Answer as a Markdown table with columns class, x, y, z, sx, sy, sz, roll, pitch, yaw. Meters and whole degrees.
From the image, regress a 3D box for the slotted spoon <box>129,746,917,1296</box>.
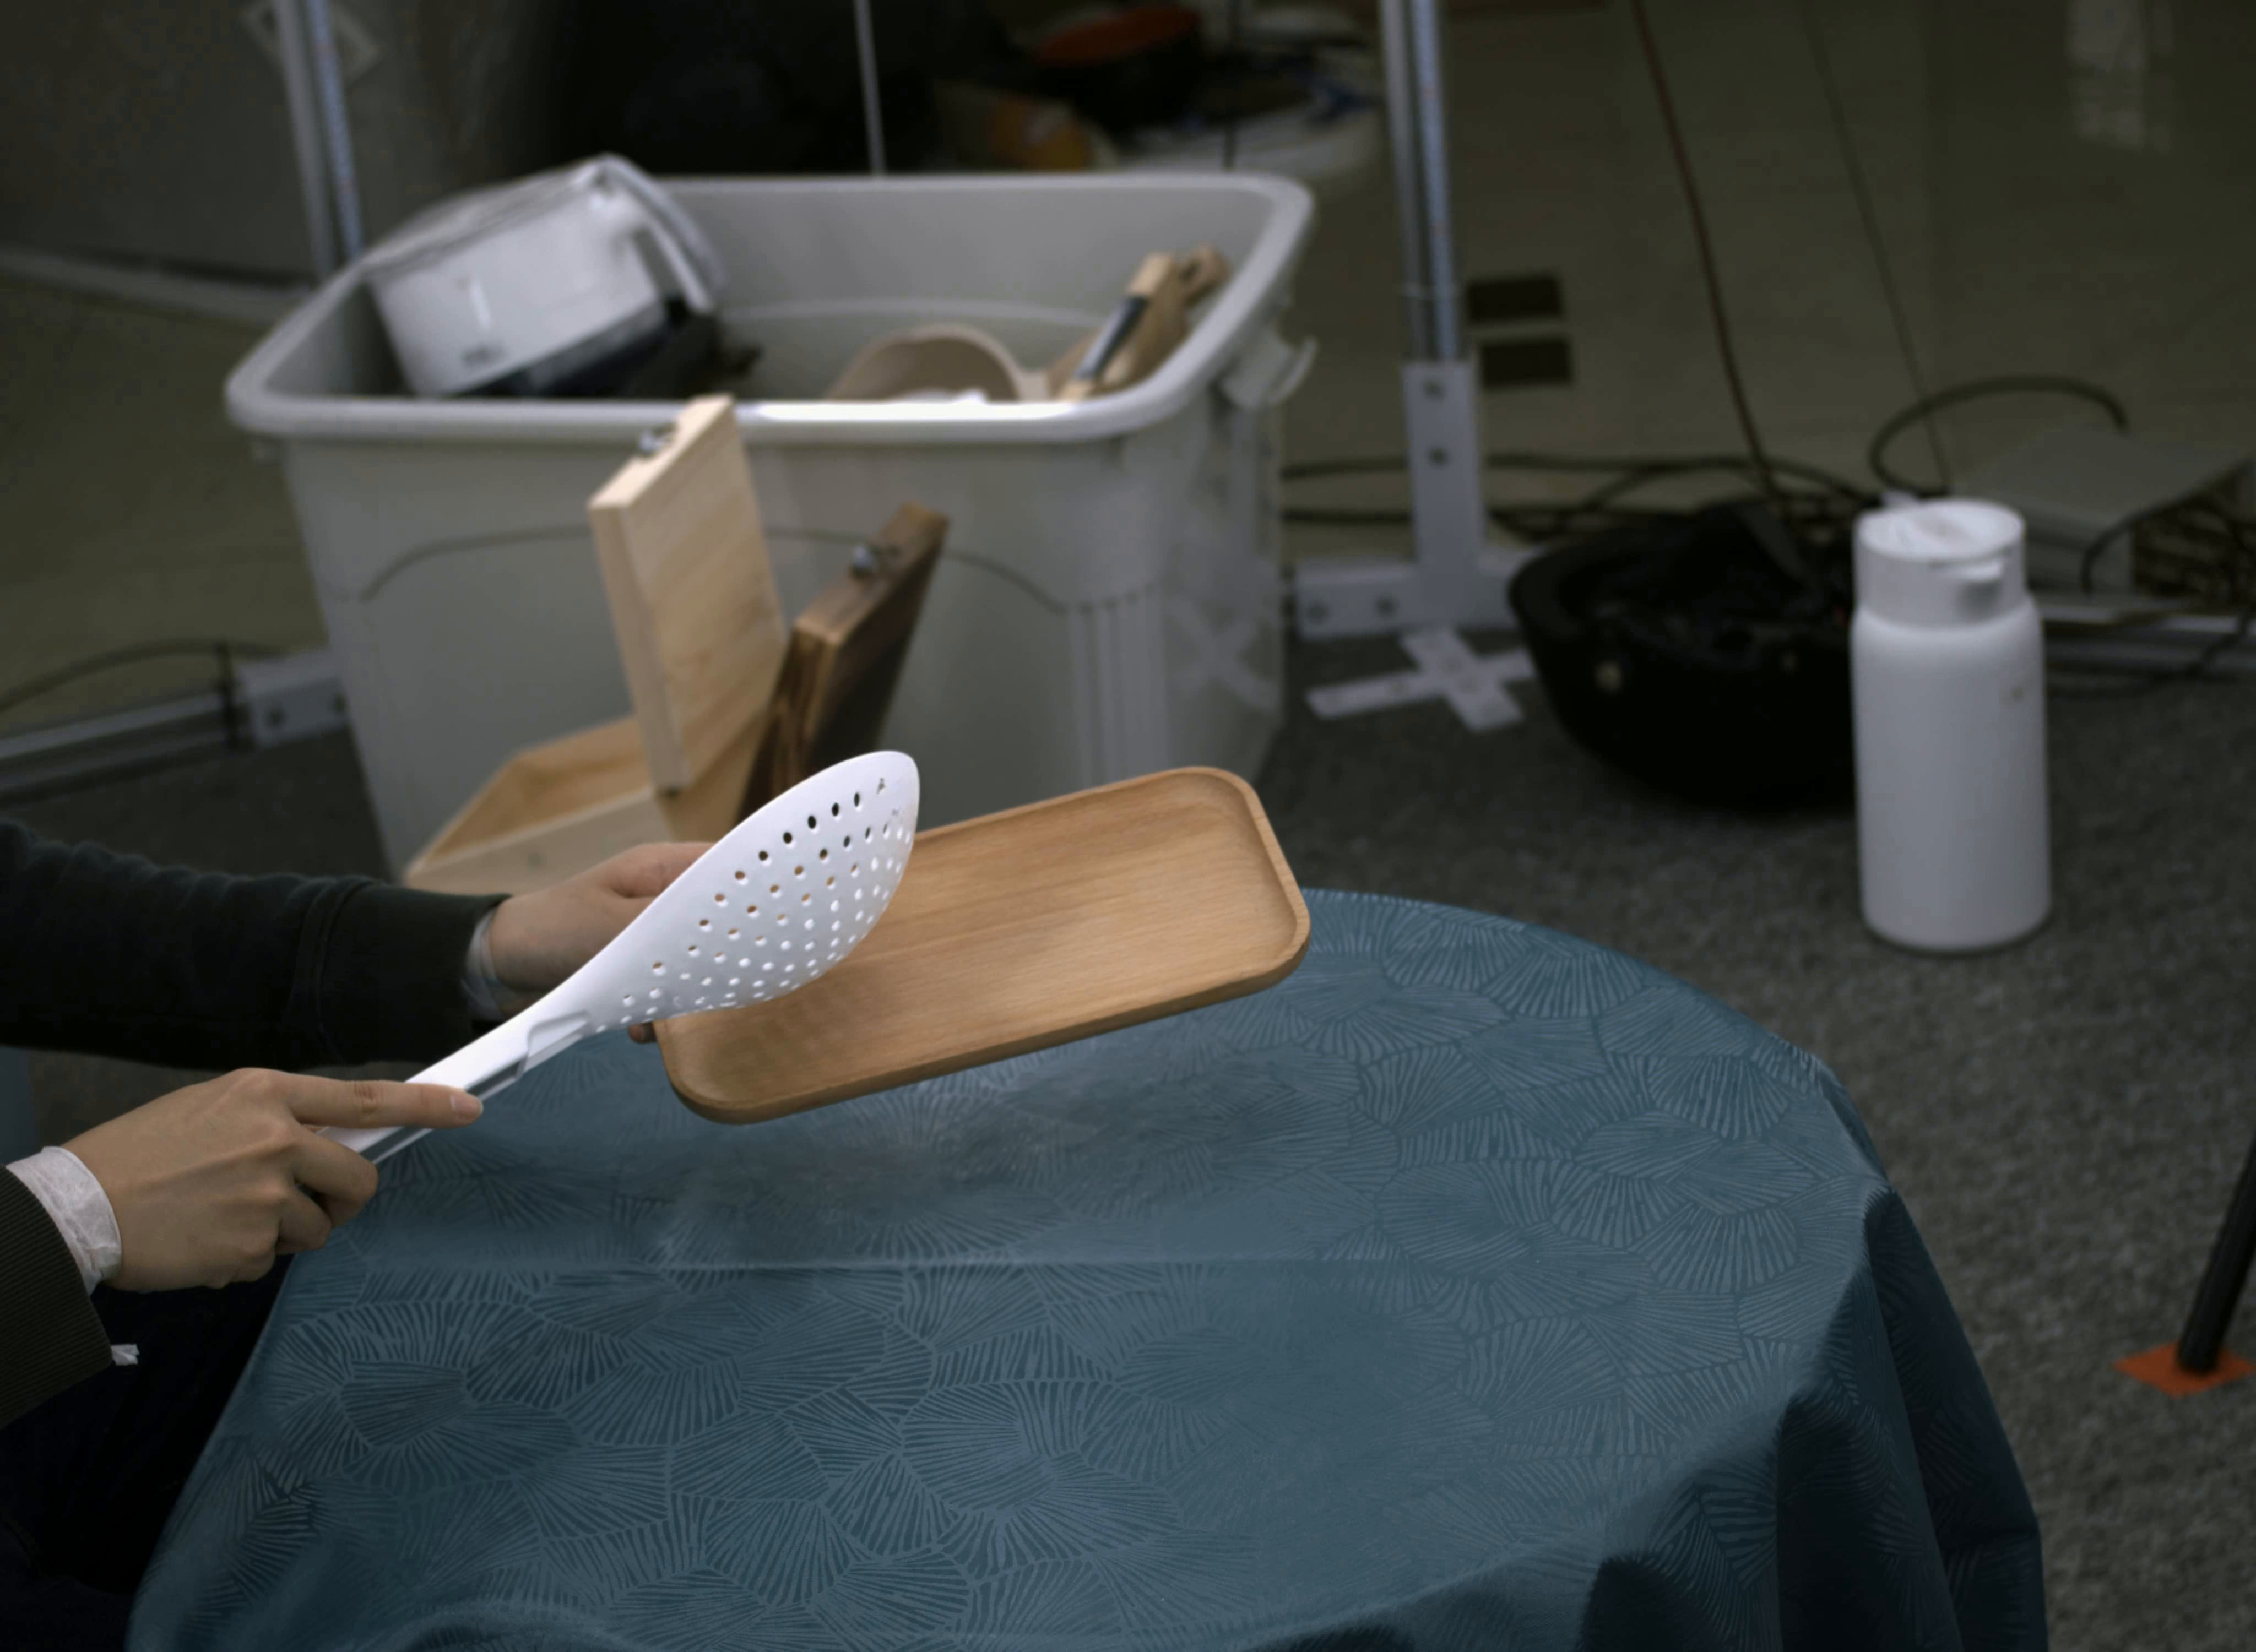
| class | x | y | z | sx | sy | sz | roll | pitch | yaw |
| --- | --- | --- | --- | --- | --- | --- | --- | --- | --- |
| slotted spoon | -0.211 | 0.074 | 2.046 | 0.347 | 0.138 | 0.045 | -26 | 69 | -24 |

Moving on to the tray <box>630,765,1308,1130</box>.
| class | x | y | z | sx | sy | sz | roll | pitch | yaw |
| --- | --- | --- | --- | --- | --- | --- | --- | --- | --- |
| tray | -0.061 | 0.046 | 2.162 | 0.250 | 0.023 | 0.128 | -15 | 41 | -6 |
